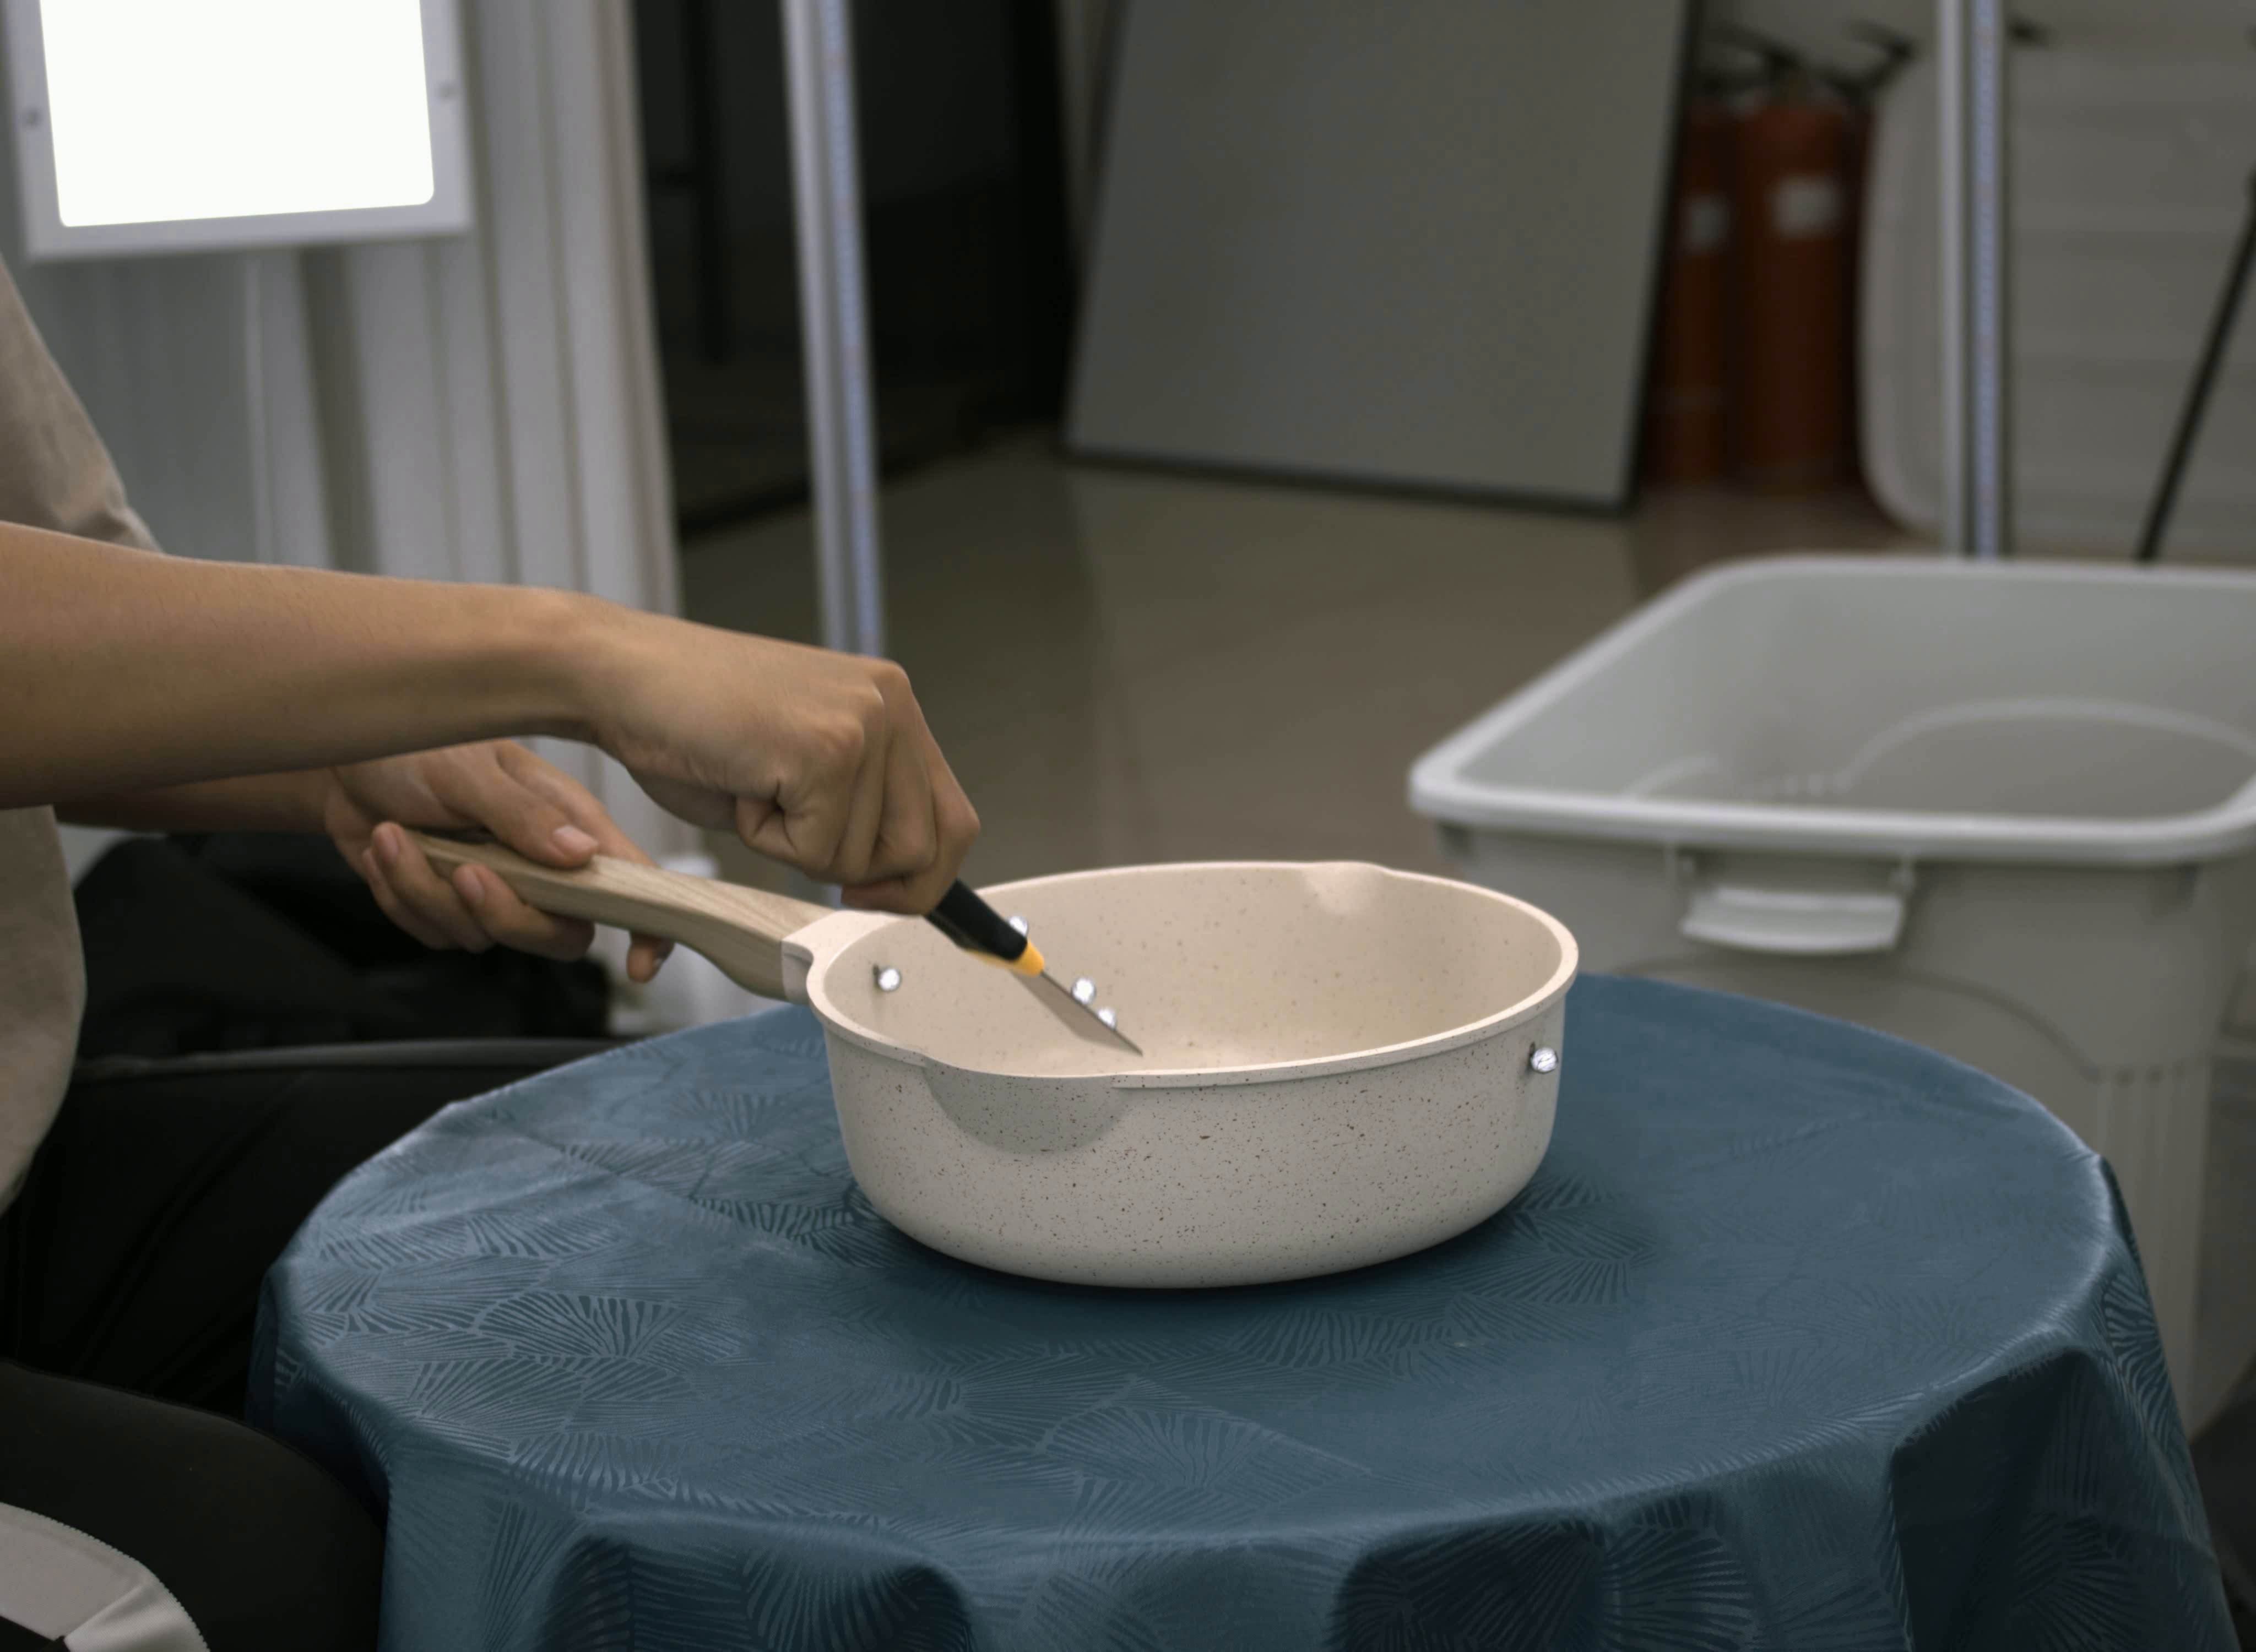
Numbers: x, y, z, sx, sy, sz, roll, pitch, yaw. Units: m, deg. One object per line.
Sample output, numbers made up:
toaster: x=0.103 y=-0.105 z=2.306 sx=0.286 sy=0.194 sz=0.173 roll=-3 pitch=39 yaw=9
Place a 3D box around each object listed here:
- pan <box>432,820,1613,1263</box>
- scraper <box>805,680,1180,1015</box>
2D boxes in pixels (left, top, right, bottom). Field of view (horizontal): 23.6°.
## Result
pan: x=-0.044 y=0.060 z=1.811 sx=0.436 sy=0.103 sz=0.260 roll=3 pitch=18 yaw=28
scraper: x=-0.042 y=0.008 z=1.660 sx=0.015 sy=0.169 sz=0.039 roll=-53 pitch=35 yaw=-9
